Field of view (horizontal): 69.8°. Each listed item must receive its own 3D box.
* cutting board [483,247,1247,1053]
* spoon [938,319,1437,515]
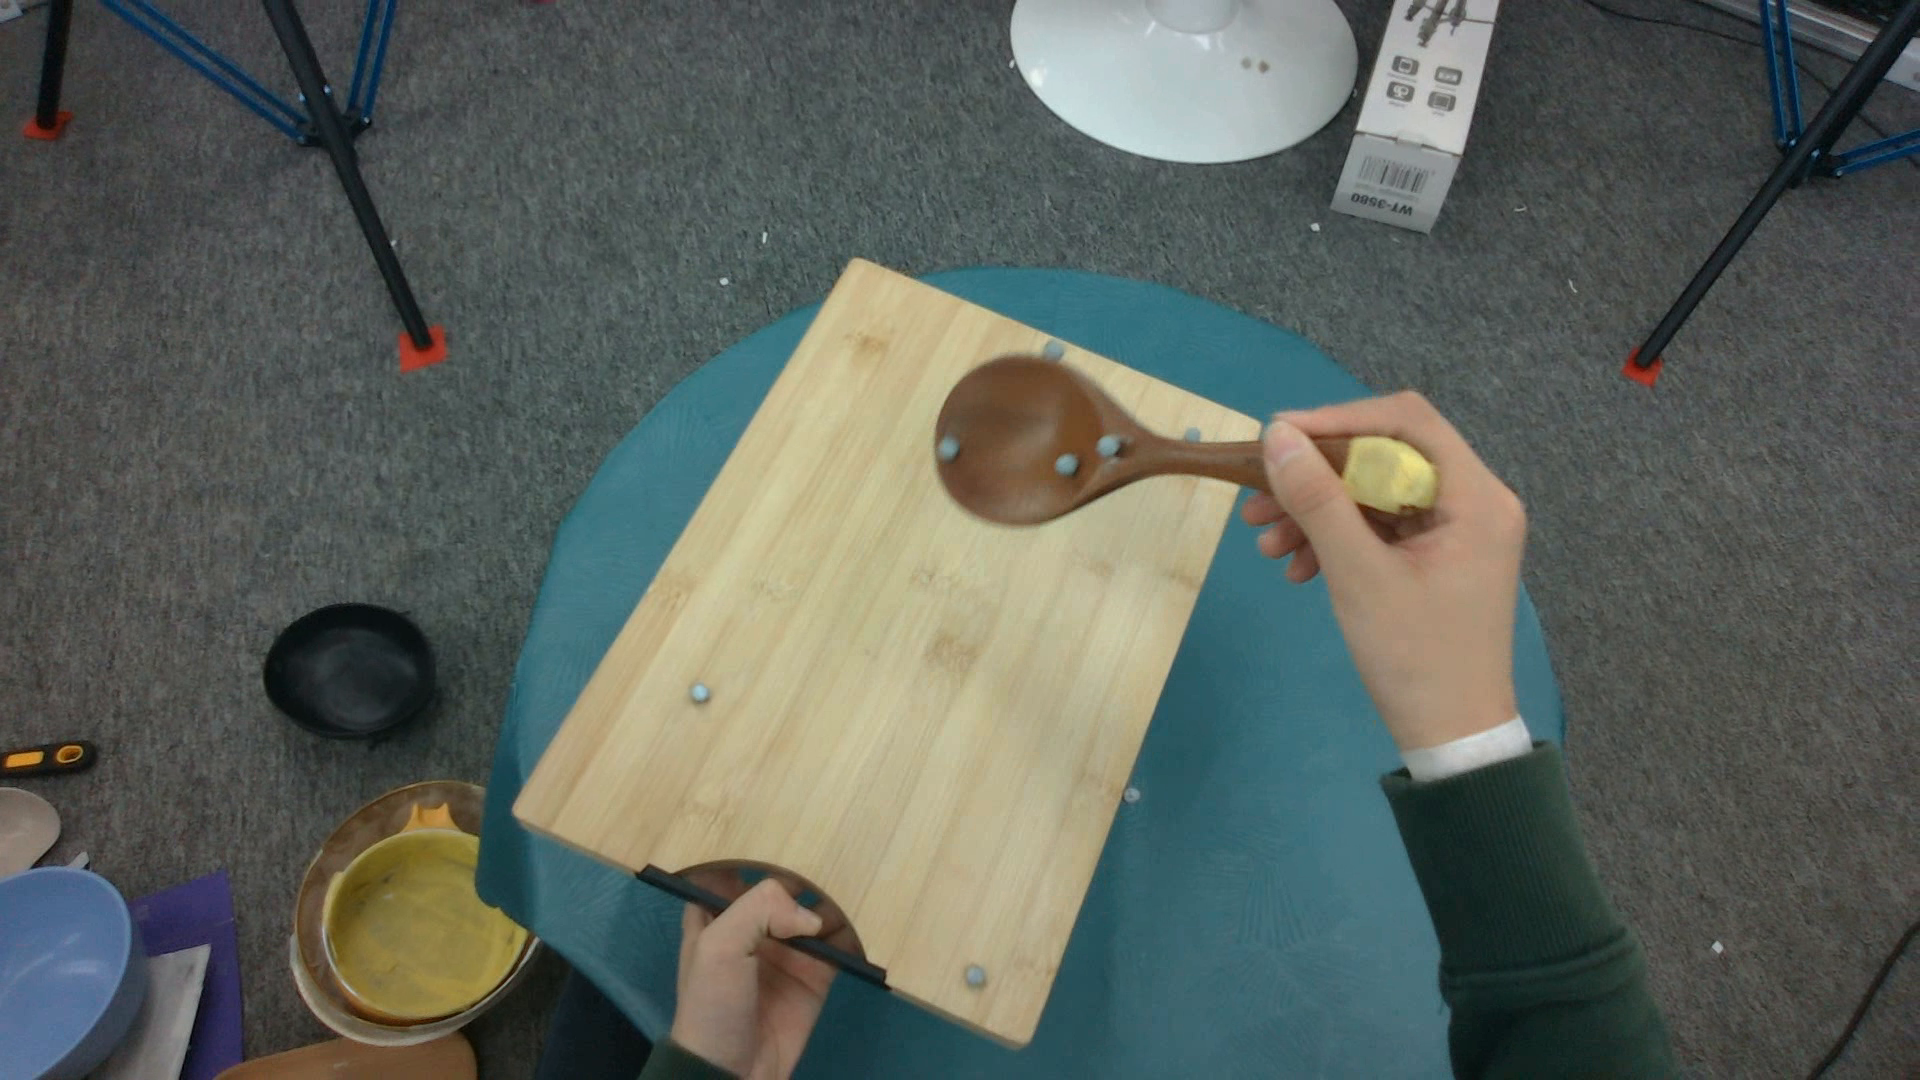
[{"bbox_3d":[-0.025,0.029,0.660,0.250,0.023,0.350,22,61,5],"label":"cutting board"},{"bbox_3d":[0.074,-0.040,0.514,0.215,0.017,0.075,15,88,42],"label":"spoon"}]
